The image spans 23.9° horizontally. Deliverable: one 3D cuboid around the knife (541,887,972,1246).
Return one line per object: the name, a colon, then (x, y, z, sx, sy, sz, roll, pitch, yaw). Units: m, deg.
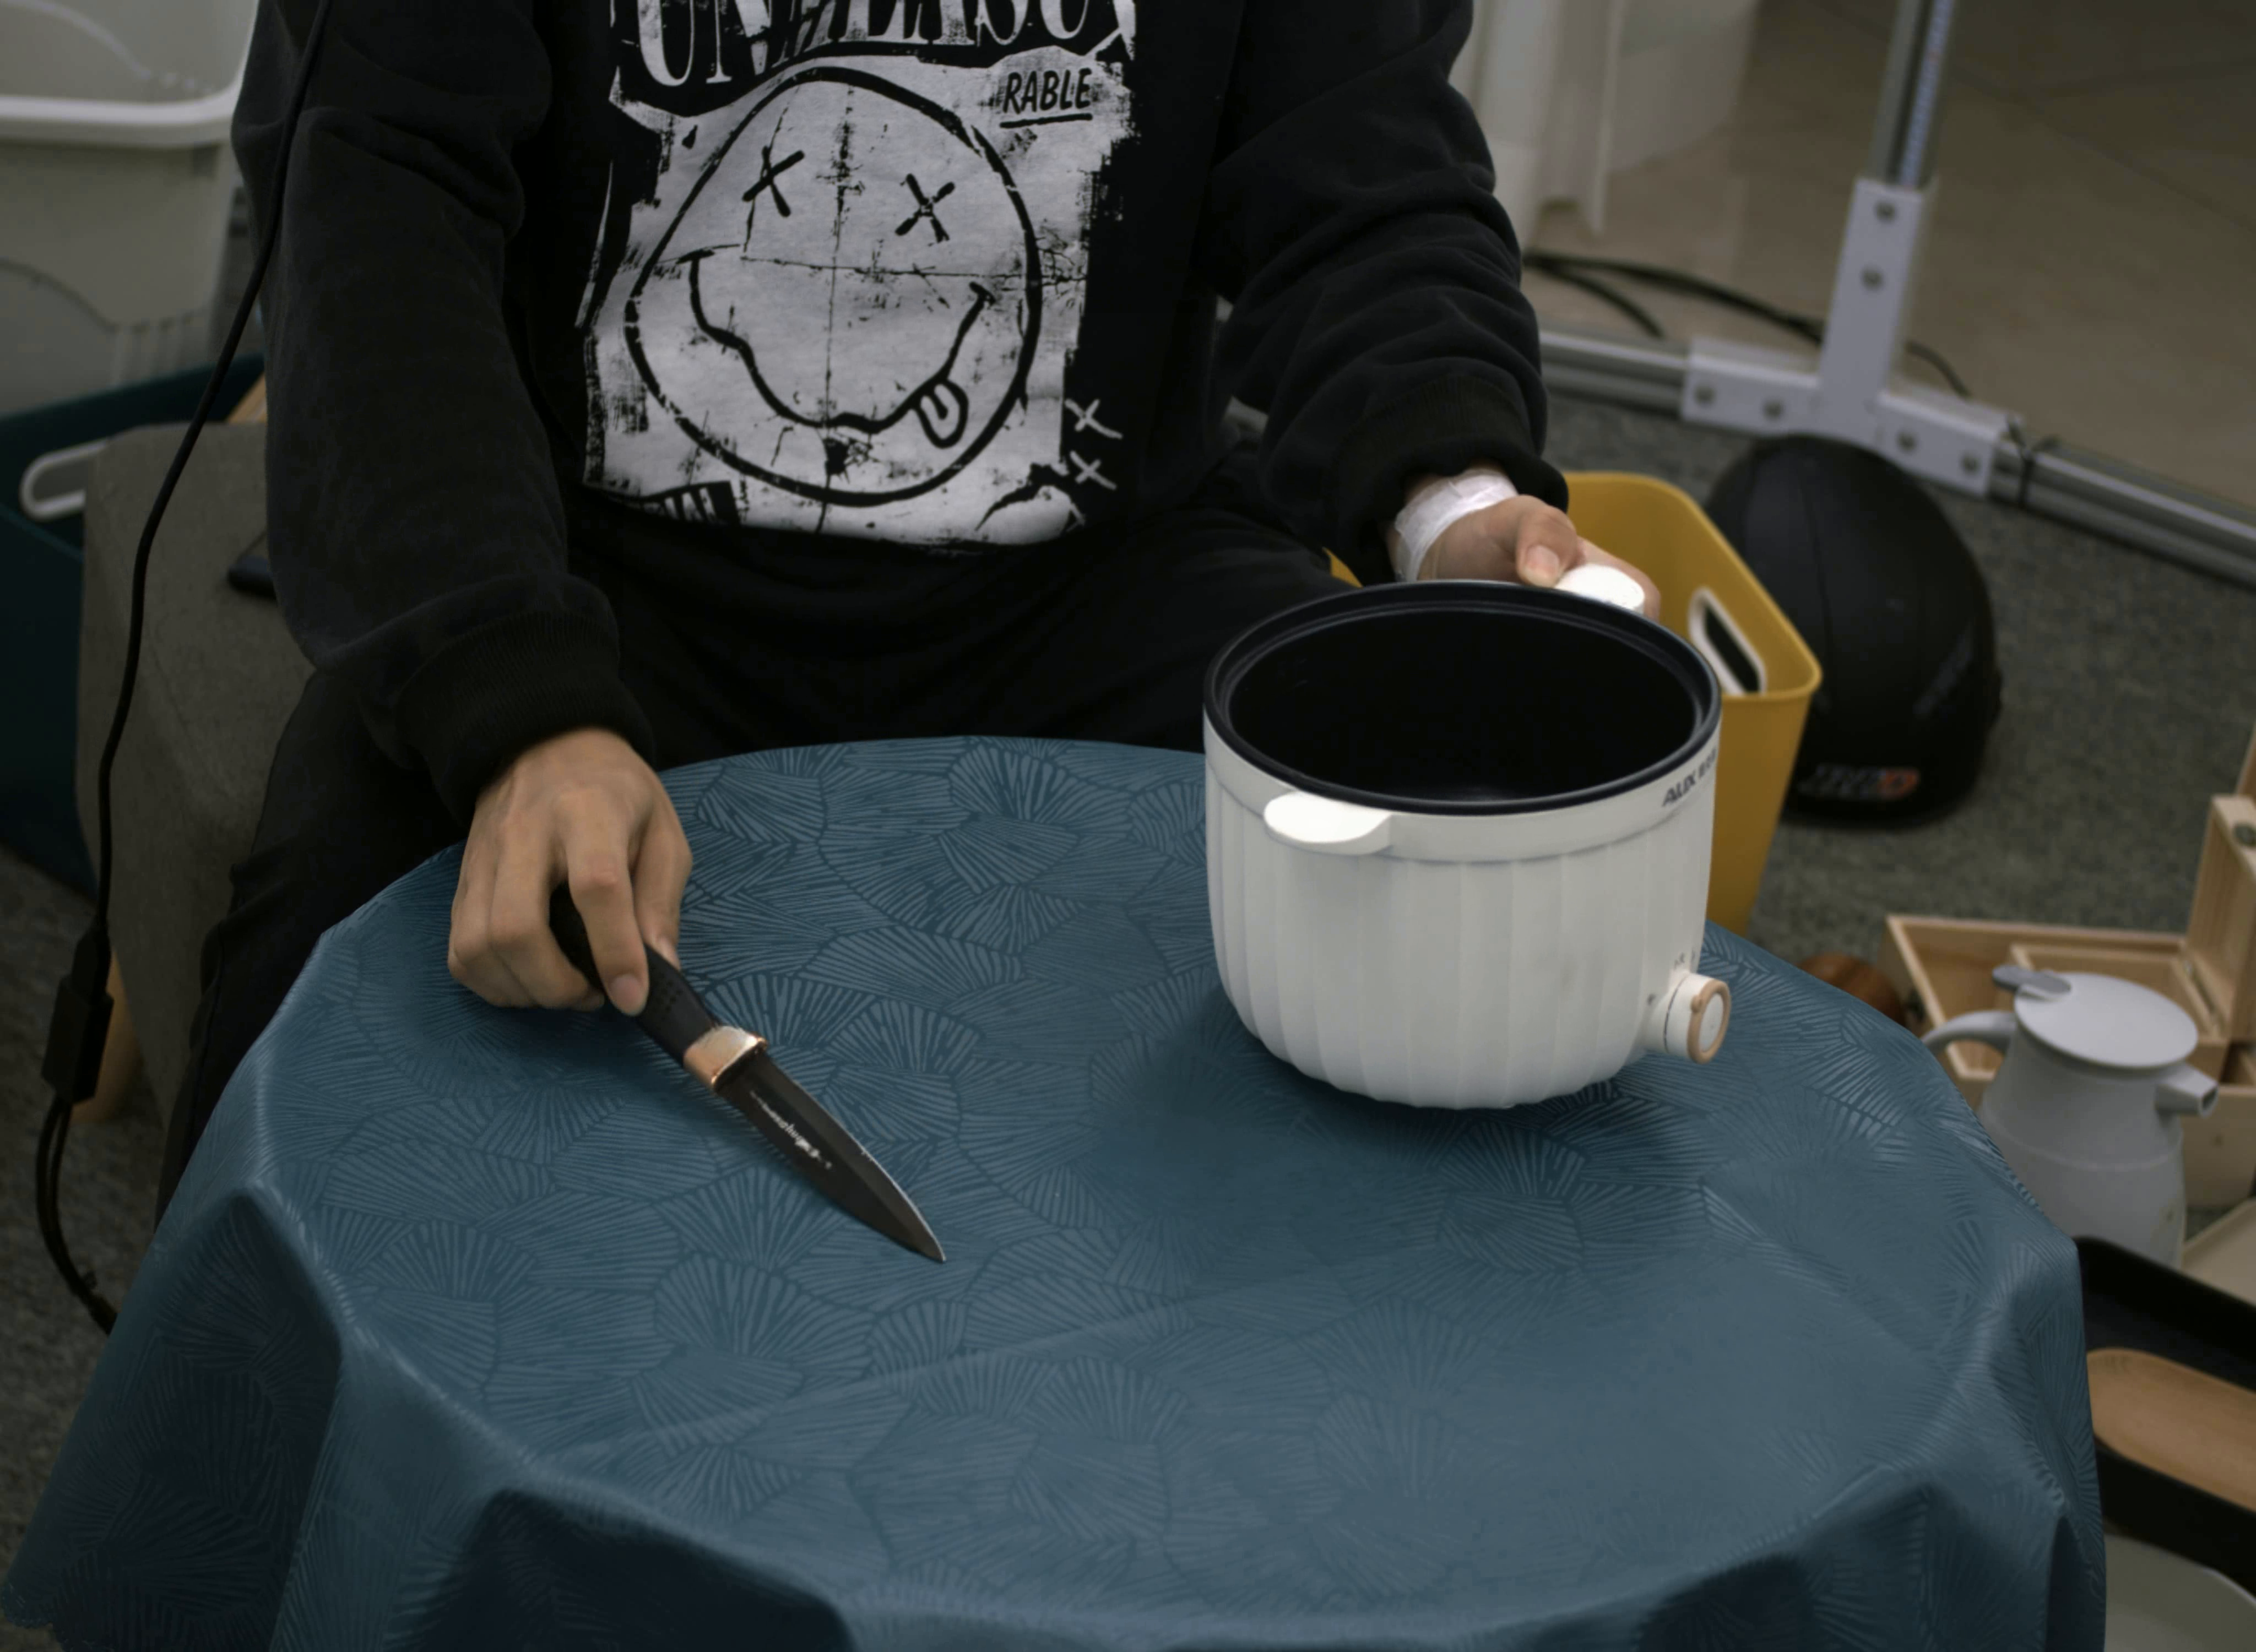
knife: (-0.129, 0.083, 1.814, 0.026, 0.017, 0.227, -38, 53, -18)

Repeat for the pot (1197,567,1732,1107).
pot: (0.121, 0.011, 1.886, 0.191, 0.142, 0.240, 11, 30, 29)
